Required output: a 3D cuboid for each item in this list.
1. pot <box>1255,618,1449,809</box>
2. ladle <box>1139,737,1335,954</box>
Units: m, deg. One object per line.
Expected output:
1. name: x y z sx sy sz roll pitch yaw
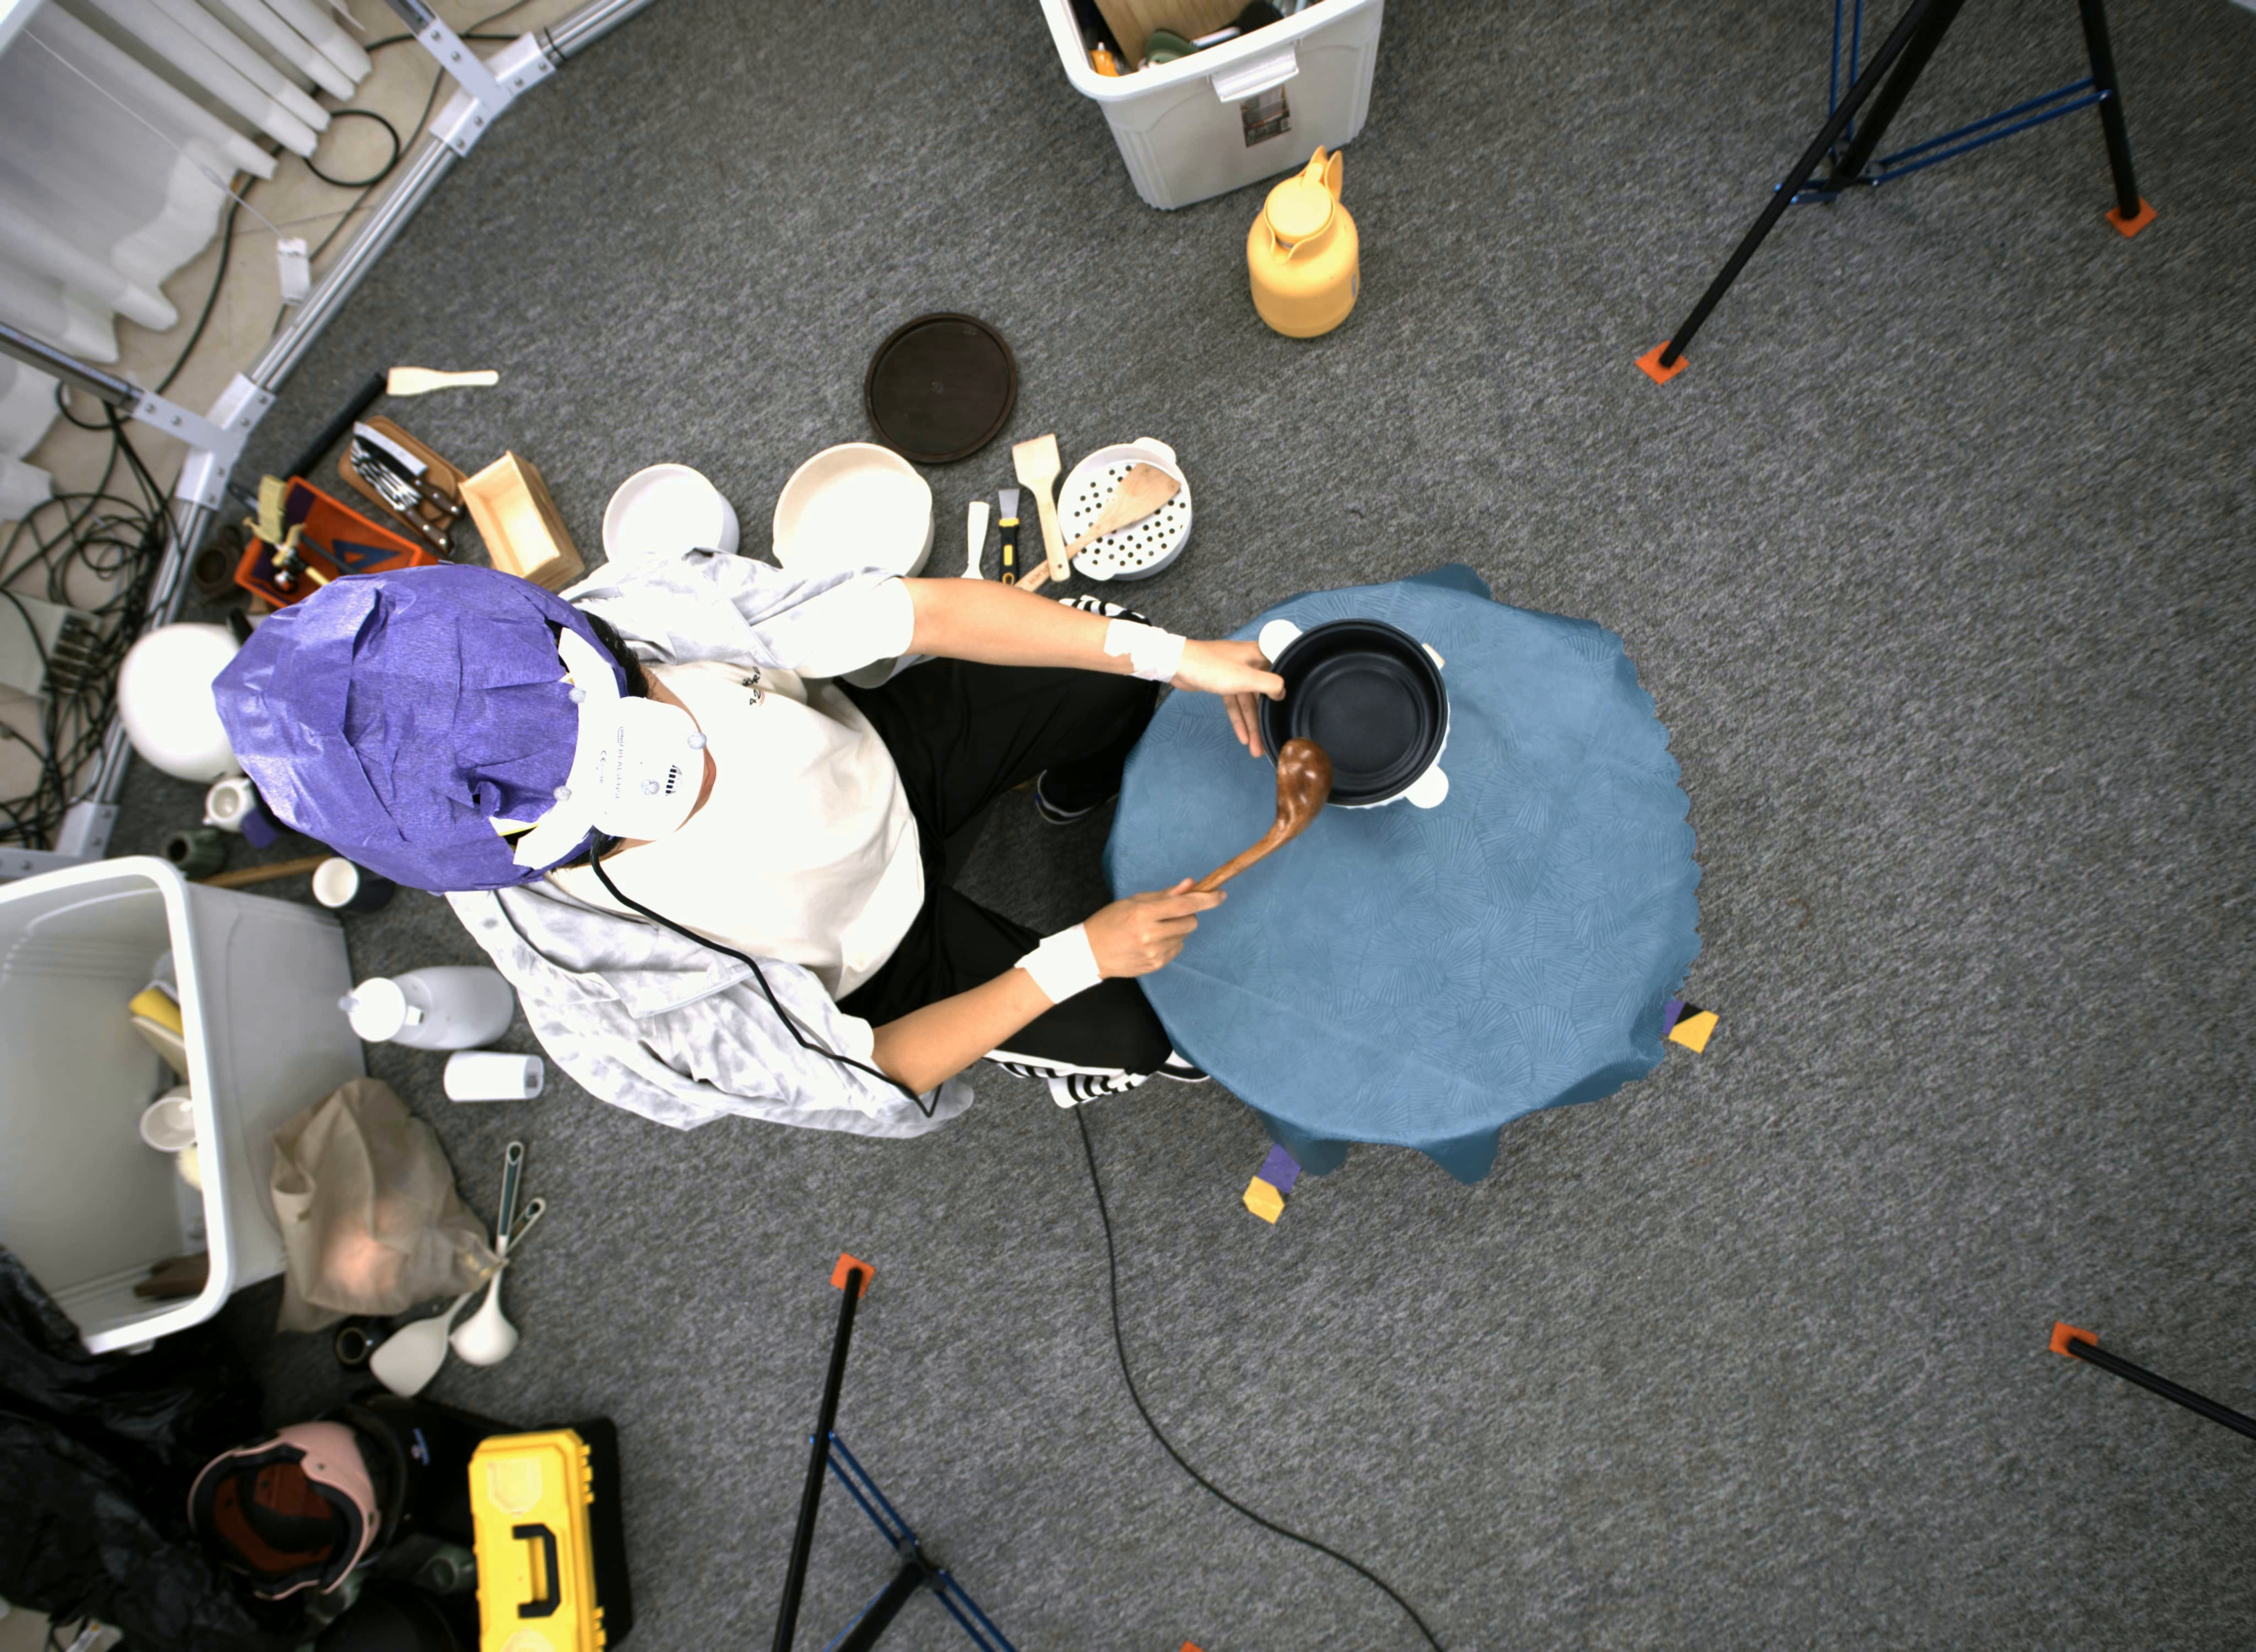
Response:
1. pot: 0.231 -0.112 1.366 0.239 0.141 0.193 46 105 11
2. ladle: 0.092 0.019 1.331 0.279 0.081 0.075 -40 62 30
